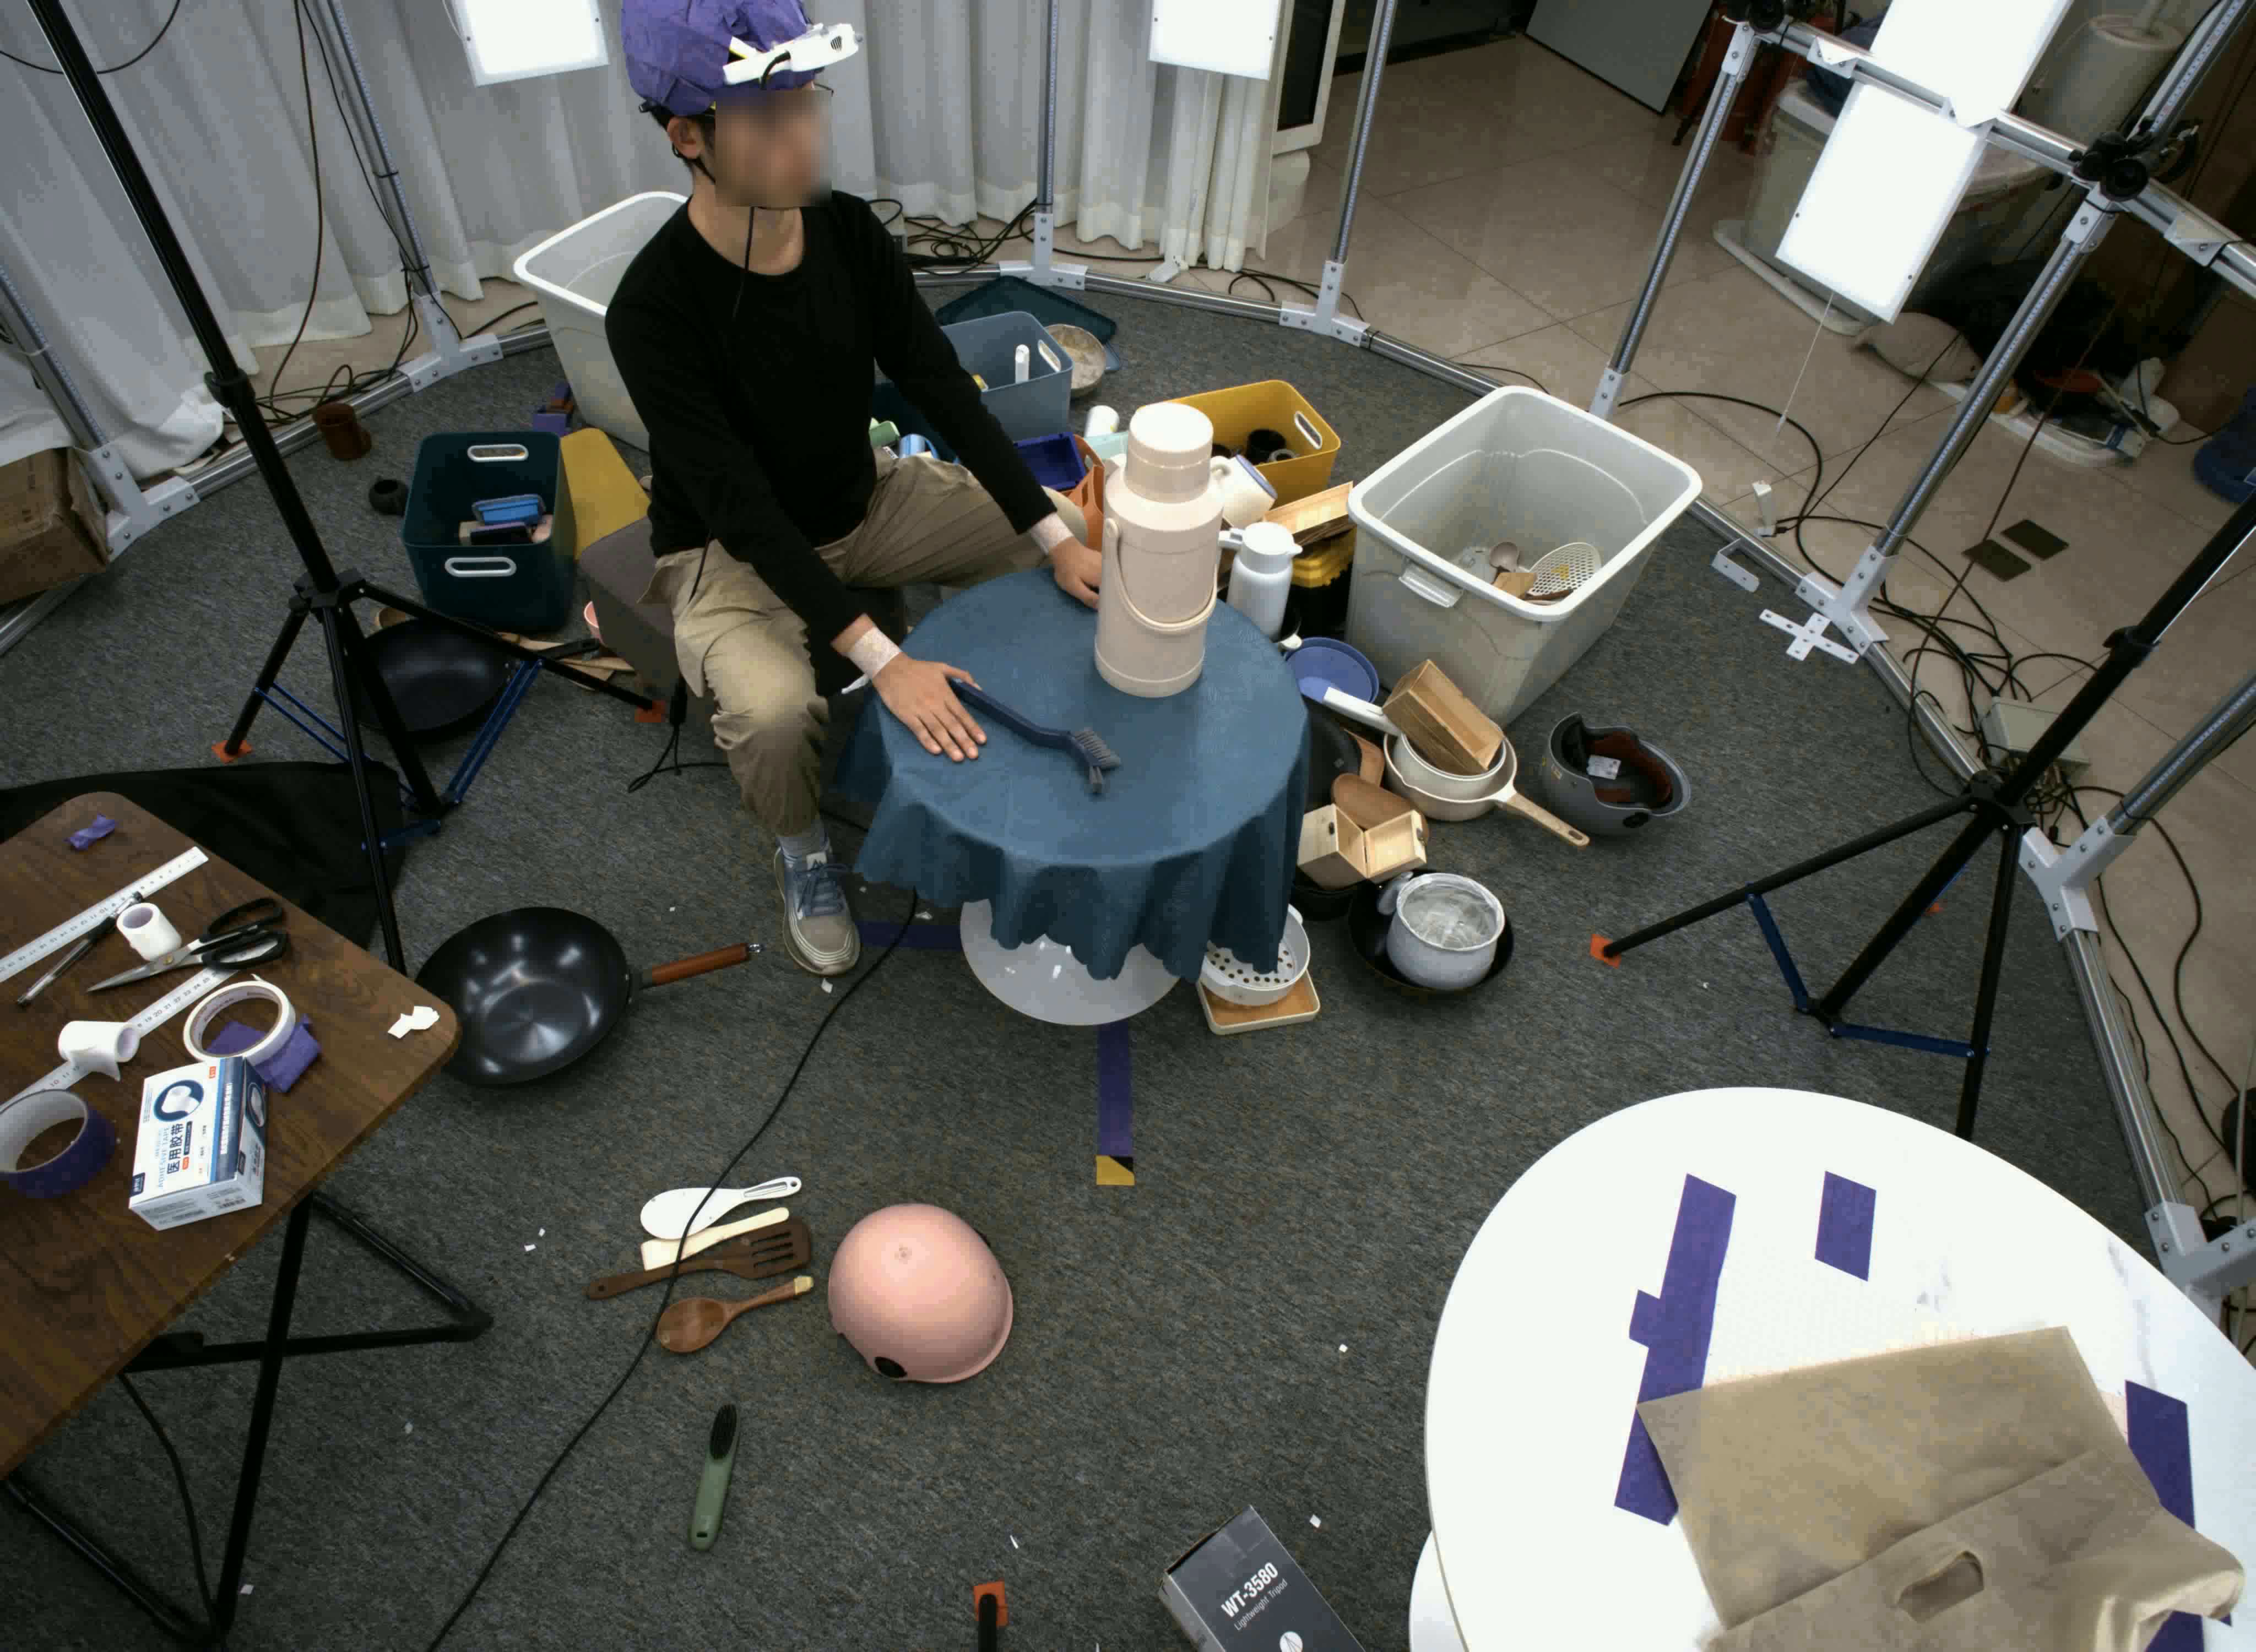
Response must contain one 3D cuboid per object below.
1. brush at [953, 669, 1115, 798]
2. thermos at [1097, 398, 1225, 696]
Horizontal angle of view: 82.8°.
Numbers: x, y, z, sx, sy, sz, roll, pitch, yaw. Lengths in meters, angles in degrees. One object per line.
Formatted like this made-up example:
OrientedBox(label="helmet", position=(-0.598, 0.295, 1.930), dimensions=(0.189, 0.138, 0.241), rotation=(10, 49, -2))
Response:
OrientedBox(label="brush", position=(-0.141, -0.131, 1.753), dimensions=(0.275, 0.033, 0.097), rotation=(26, 51, 15))
OrientedBox(label="thermos", position=(0.036, -0.381, 1.747), dimensions=(0.176, 0.396, 0.211), rotation=(-28, 57, -24))
